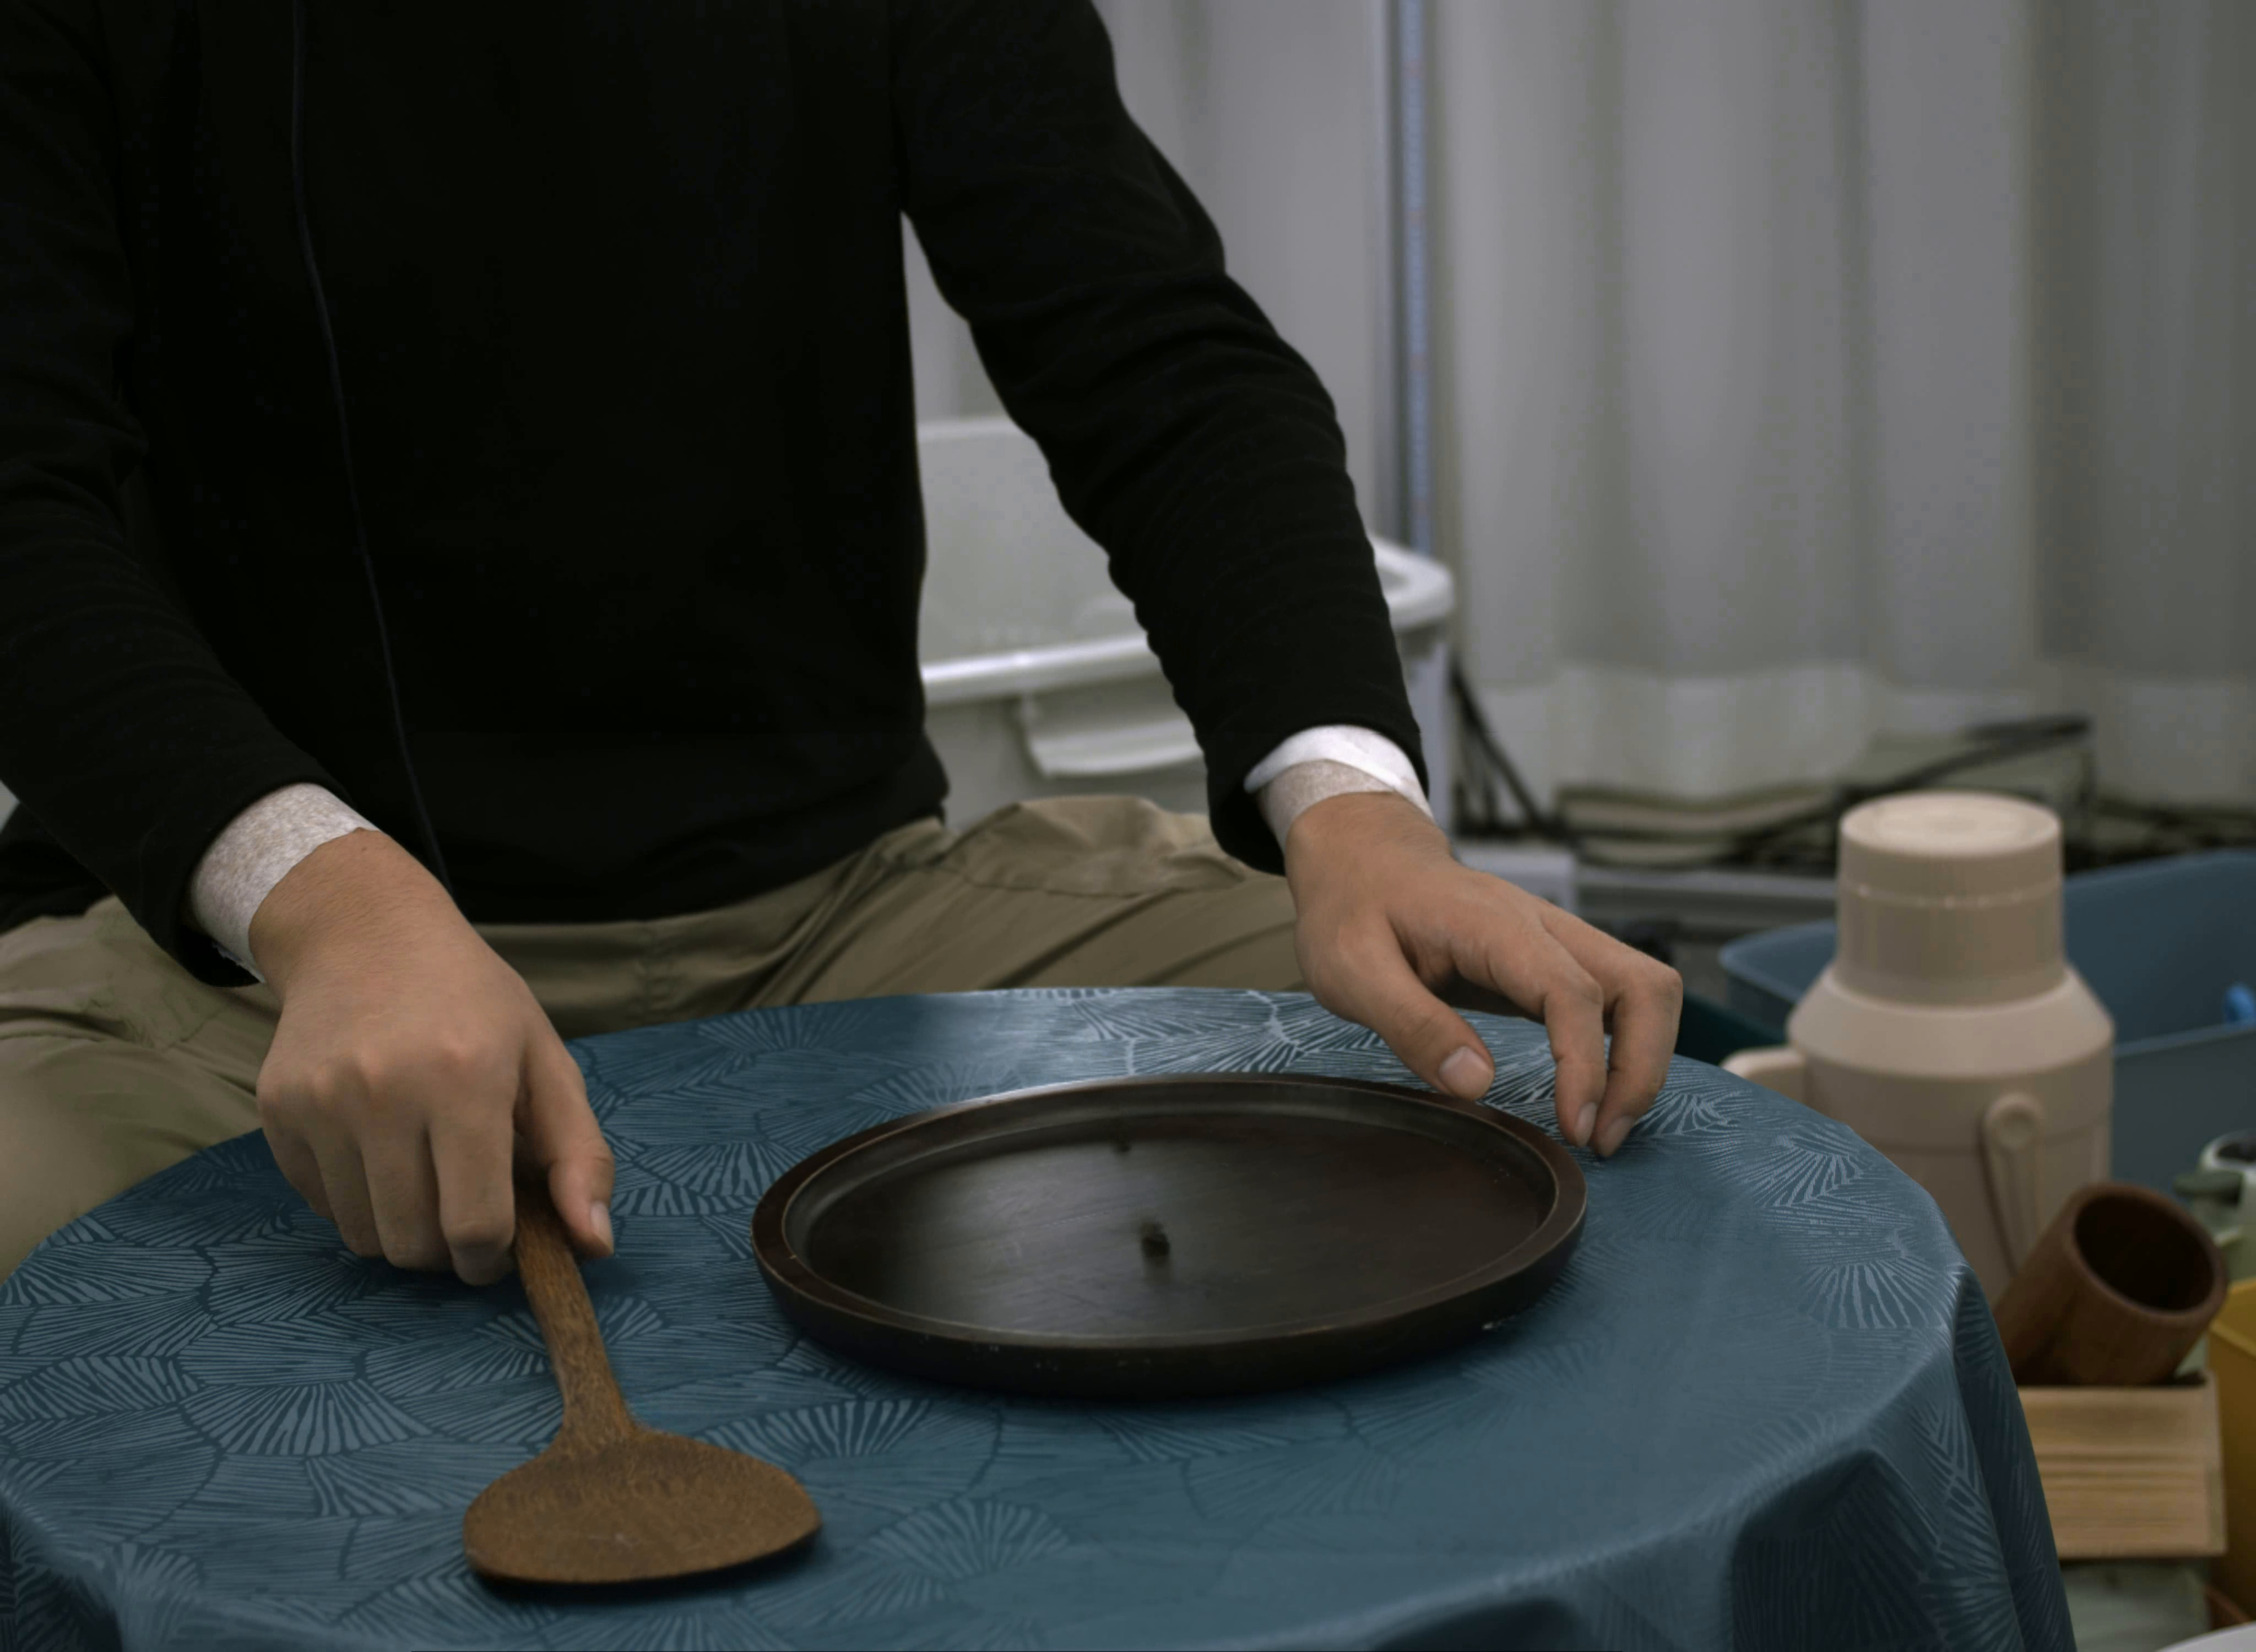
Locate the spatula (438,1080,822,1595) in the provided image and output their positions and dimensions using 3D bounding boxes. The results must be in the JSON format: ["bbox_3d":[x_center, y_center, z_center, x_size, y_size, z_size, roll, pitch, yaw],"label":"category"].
[{"bbox_3d":[-0.166,0.140,1.592,0.095,0.015,0.389,-6,19,-12],"label":"spatula"}]

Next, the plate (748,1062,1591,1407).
[{"bbox_3d":[0.013,0.122,1.639,0.254,0.029,0.256,-4,16,1],"label":"plate"}]
